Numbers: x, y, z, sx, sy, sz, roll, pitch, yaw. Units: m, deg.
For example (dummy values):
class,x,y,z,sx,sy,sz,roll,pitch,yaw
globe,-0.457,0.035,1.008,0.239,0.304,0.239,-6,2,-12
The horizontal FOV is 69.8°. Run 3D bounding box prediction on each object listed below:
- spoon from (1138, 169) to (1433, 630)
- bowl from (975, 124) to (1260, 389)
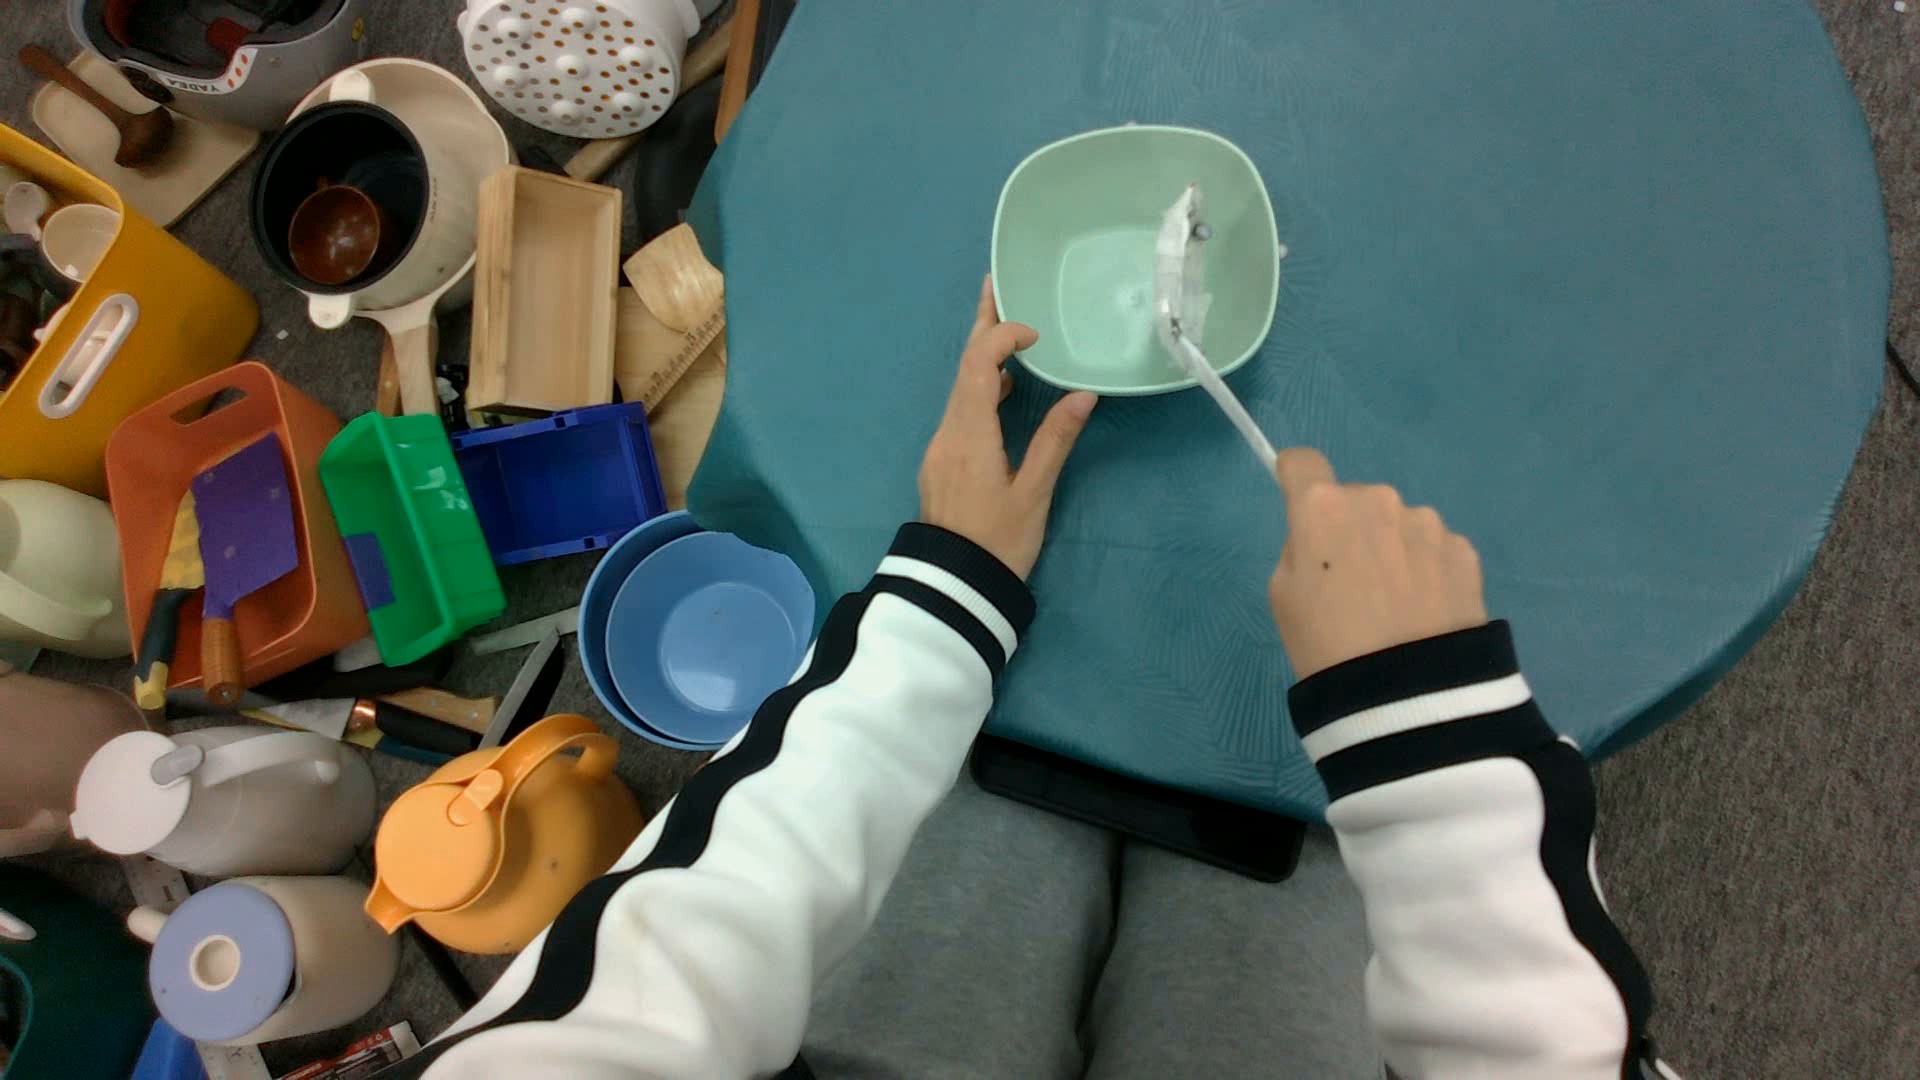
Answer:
class,x,y,z,sx,sy,sz,roll,pitch,yaw
spoon,0.141,-0.071,0.593,0.059,0.100,0.278,-26,46,-4
bowl,0.078,-0.134,0.698,0.151,0.058,0.152,-1,76,4
